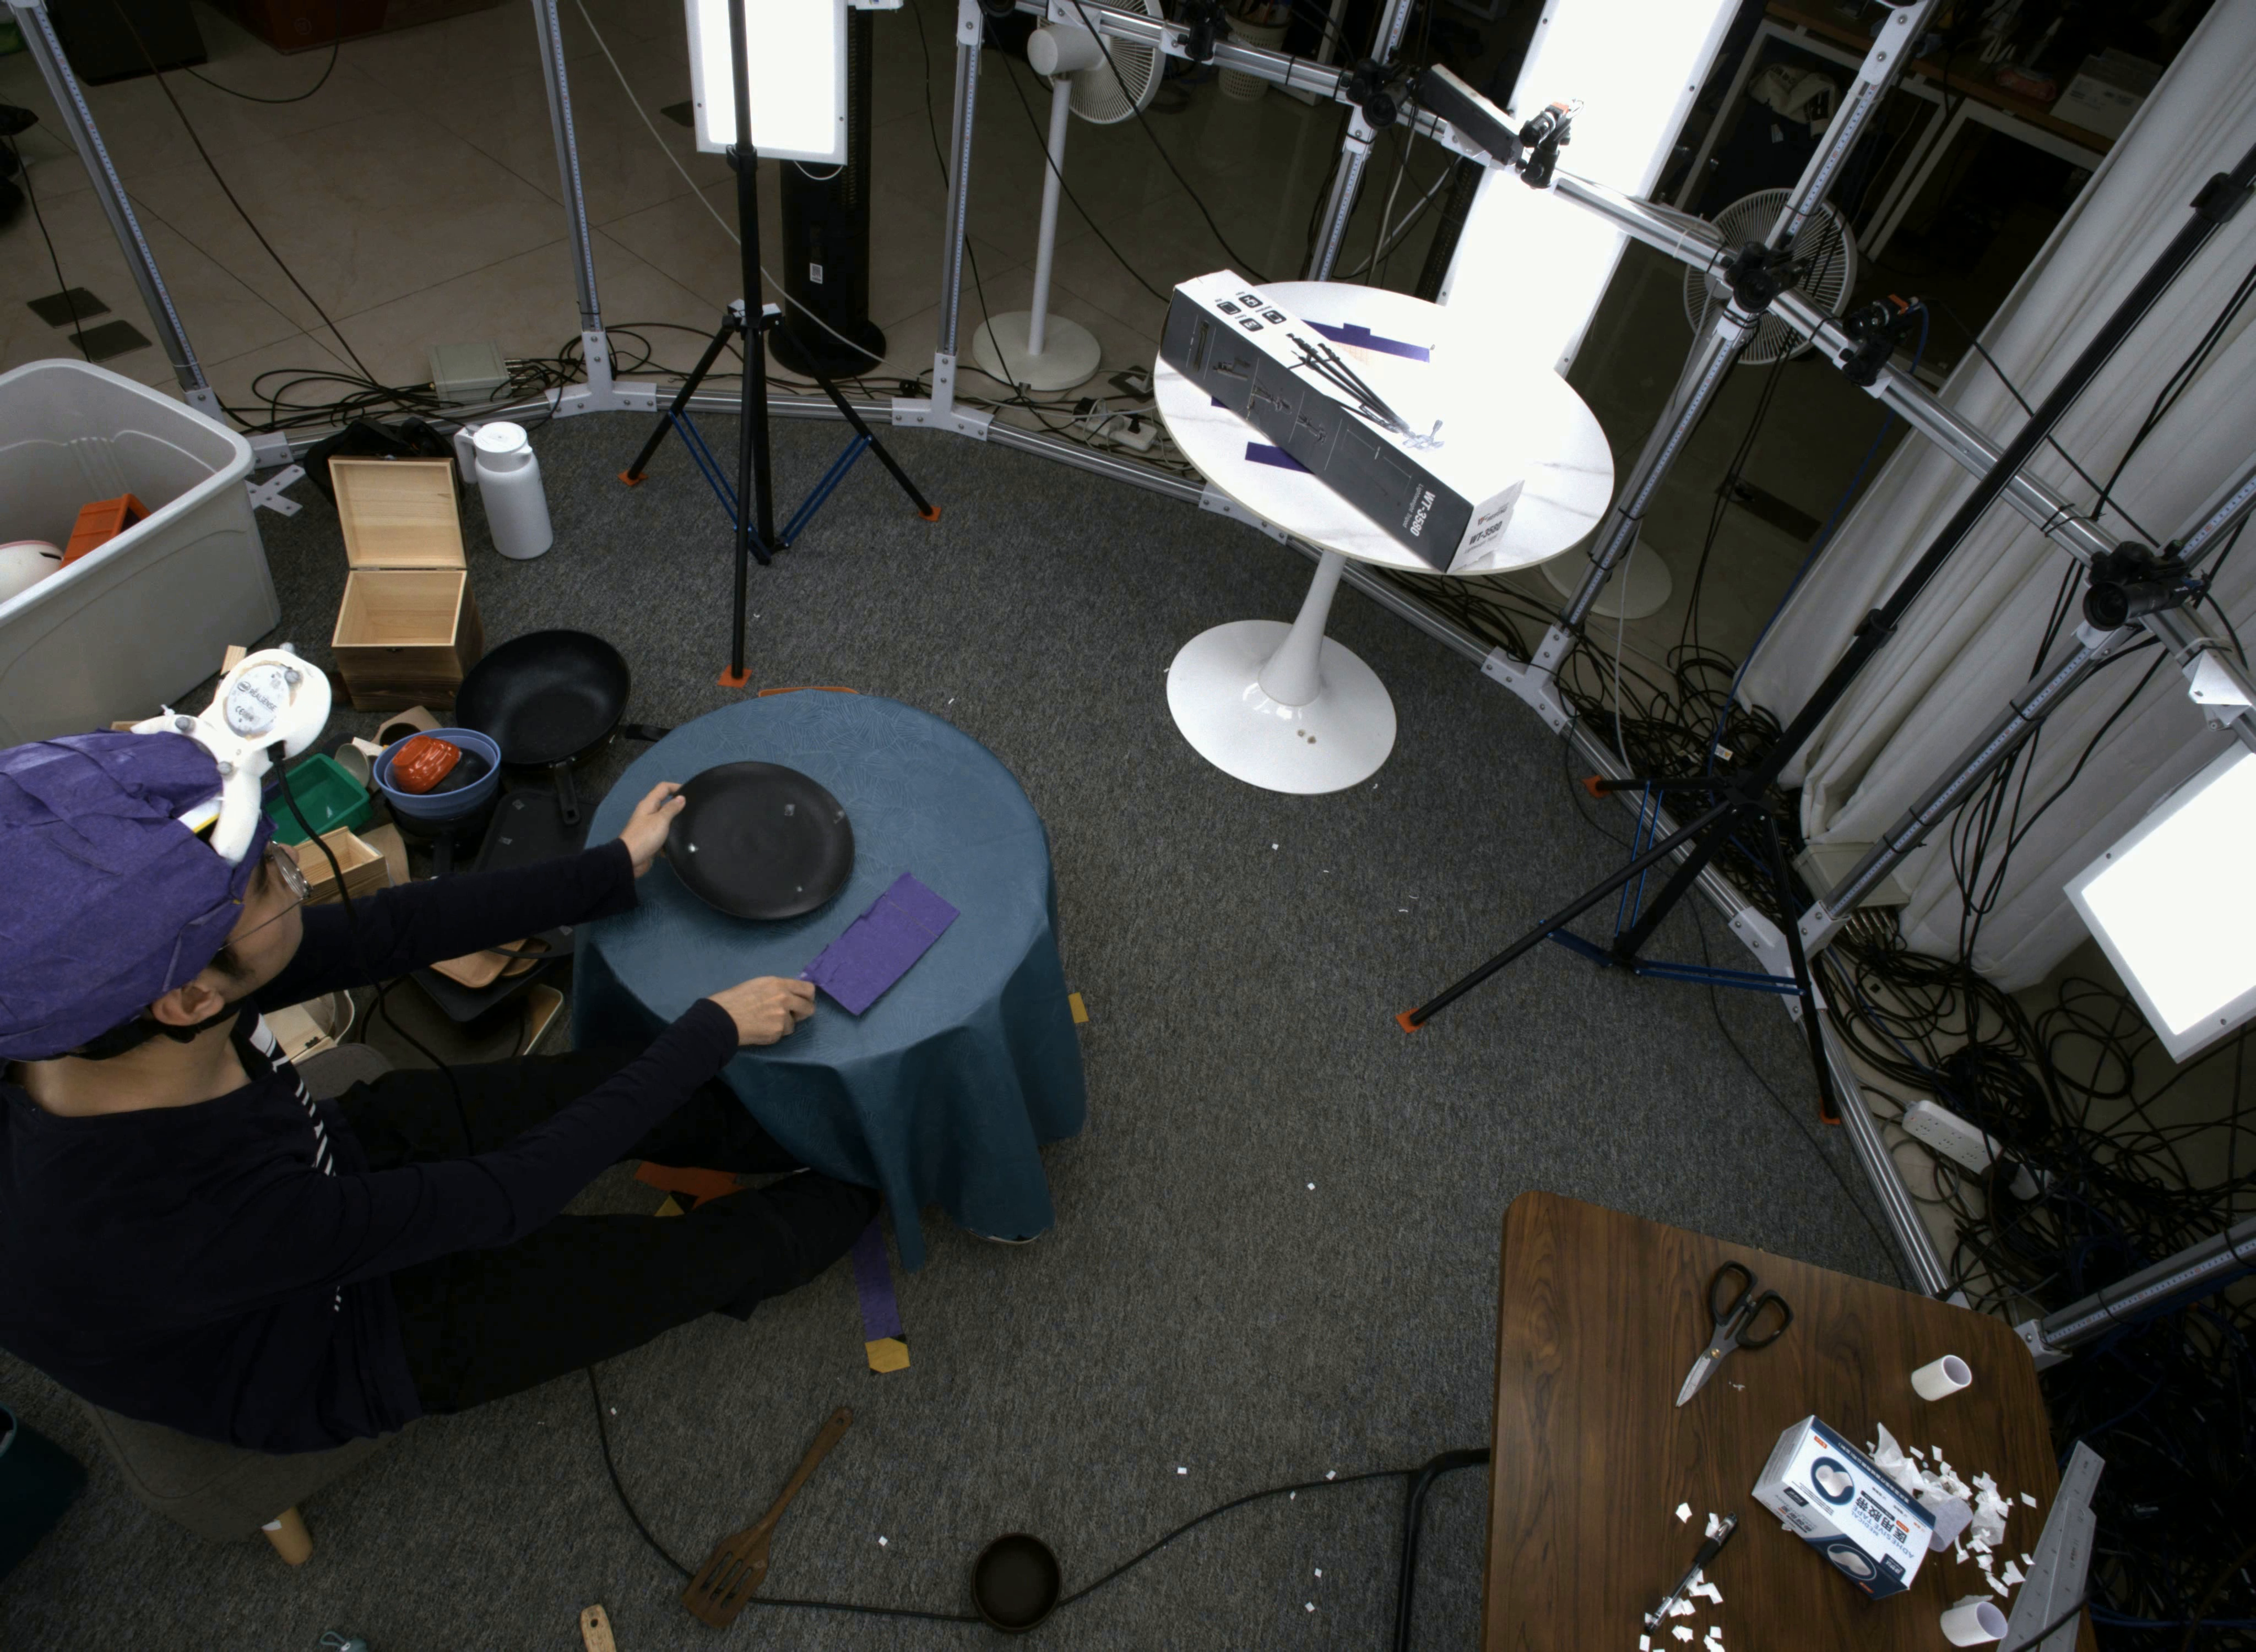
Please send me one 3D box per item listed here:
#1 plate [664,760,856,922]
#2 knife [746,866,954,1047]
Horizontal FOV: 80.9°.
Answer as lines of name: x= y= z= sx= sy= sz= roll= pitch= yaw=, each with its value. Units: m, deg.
plate: x=-0.474 y=0.020 z=1.669 sx=0.247 sy=0.023 sz=0.240 roll=15 pitch=53 yaw=-19
knife: x=-0.333 y=0.169 z=1.607 sx=0.103 sy=0.032 sz=0.314 roll=36 pitch=52 yaw=6
